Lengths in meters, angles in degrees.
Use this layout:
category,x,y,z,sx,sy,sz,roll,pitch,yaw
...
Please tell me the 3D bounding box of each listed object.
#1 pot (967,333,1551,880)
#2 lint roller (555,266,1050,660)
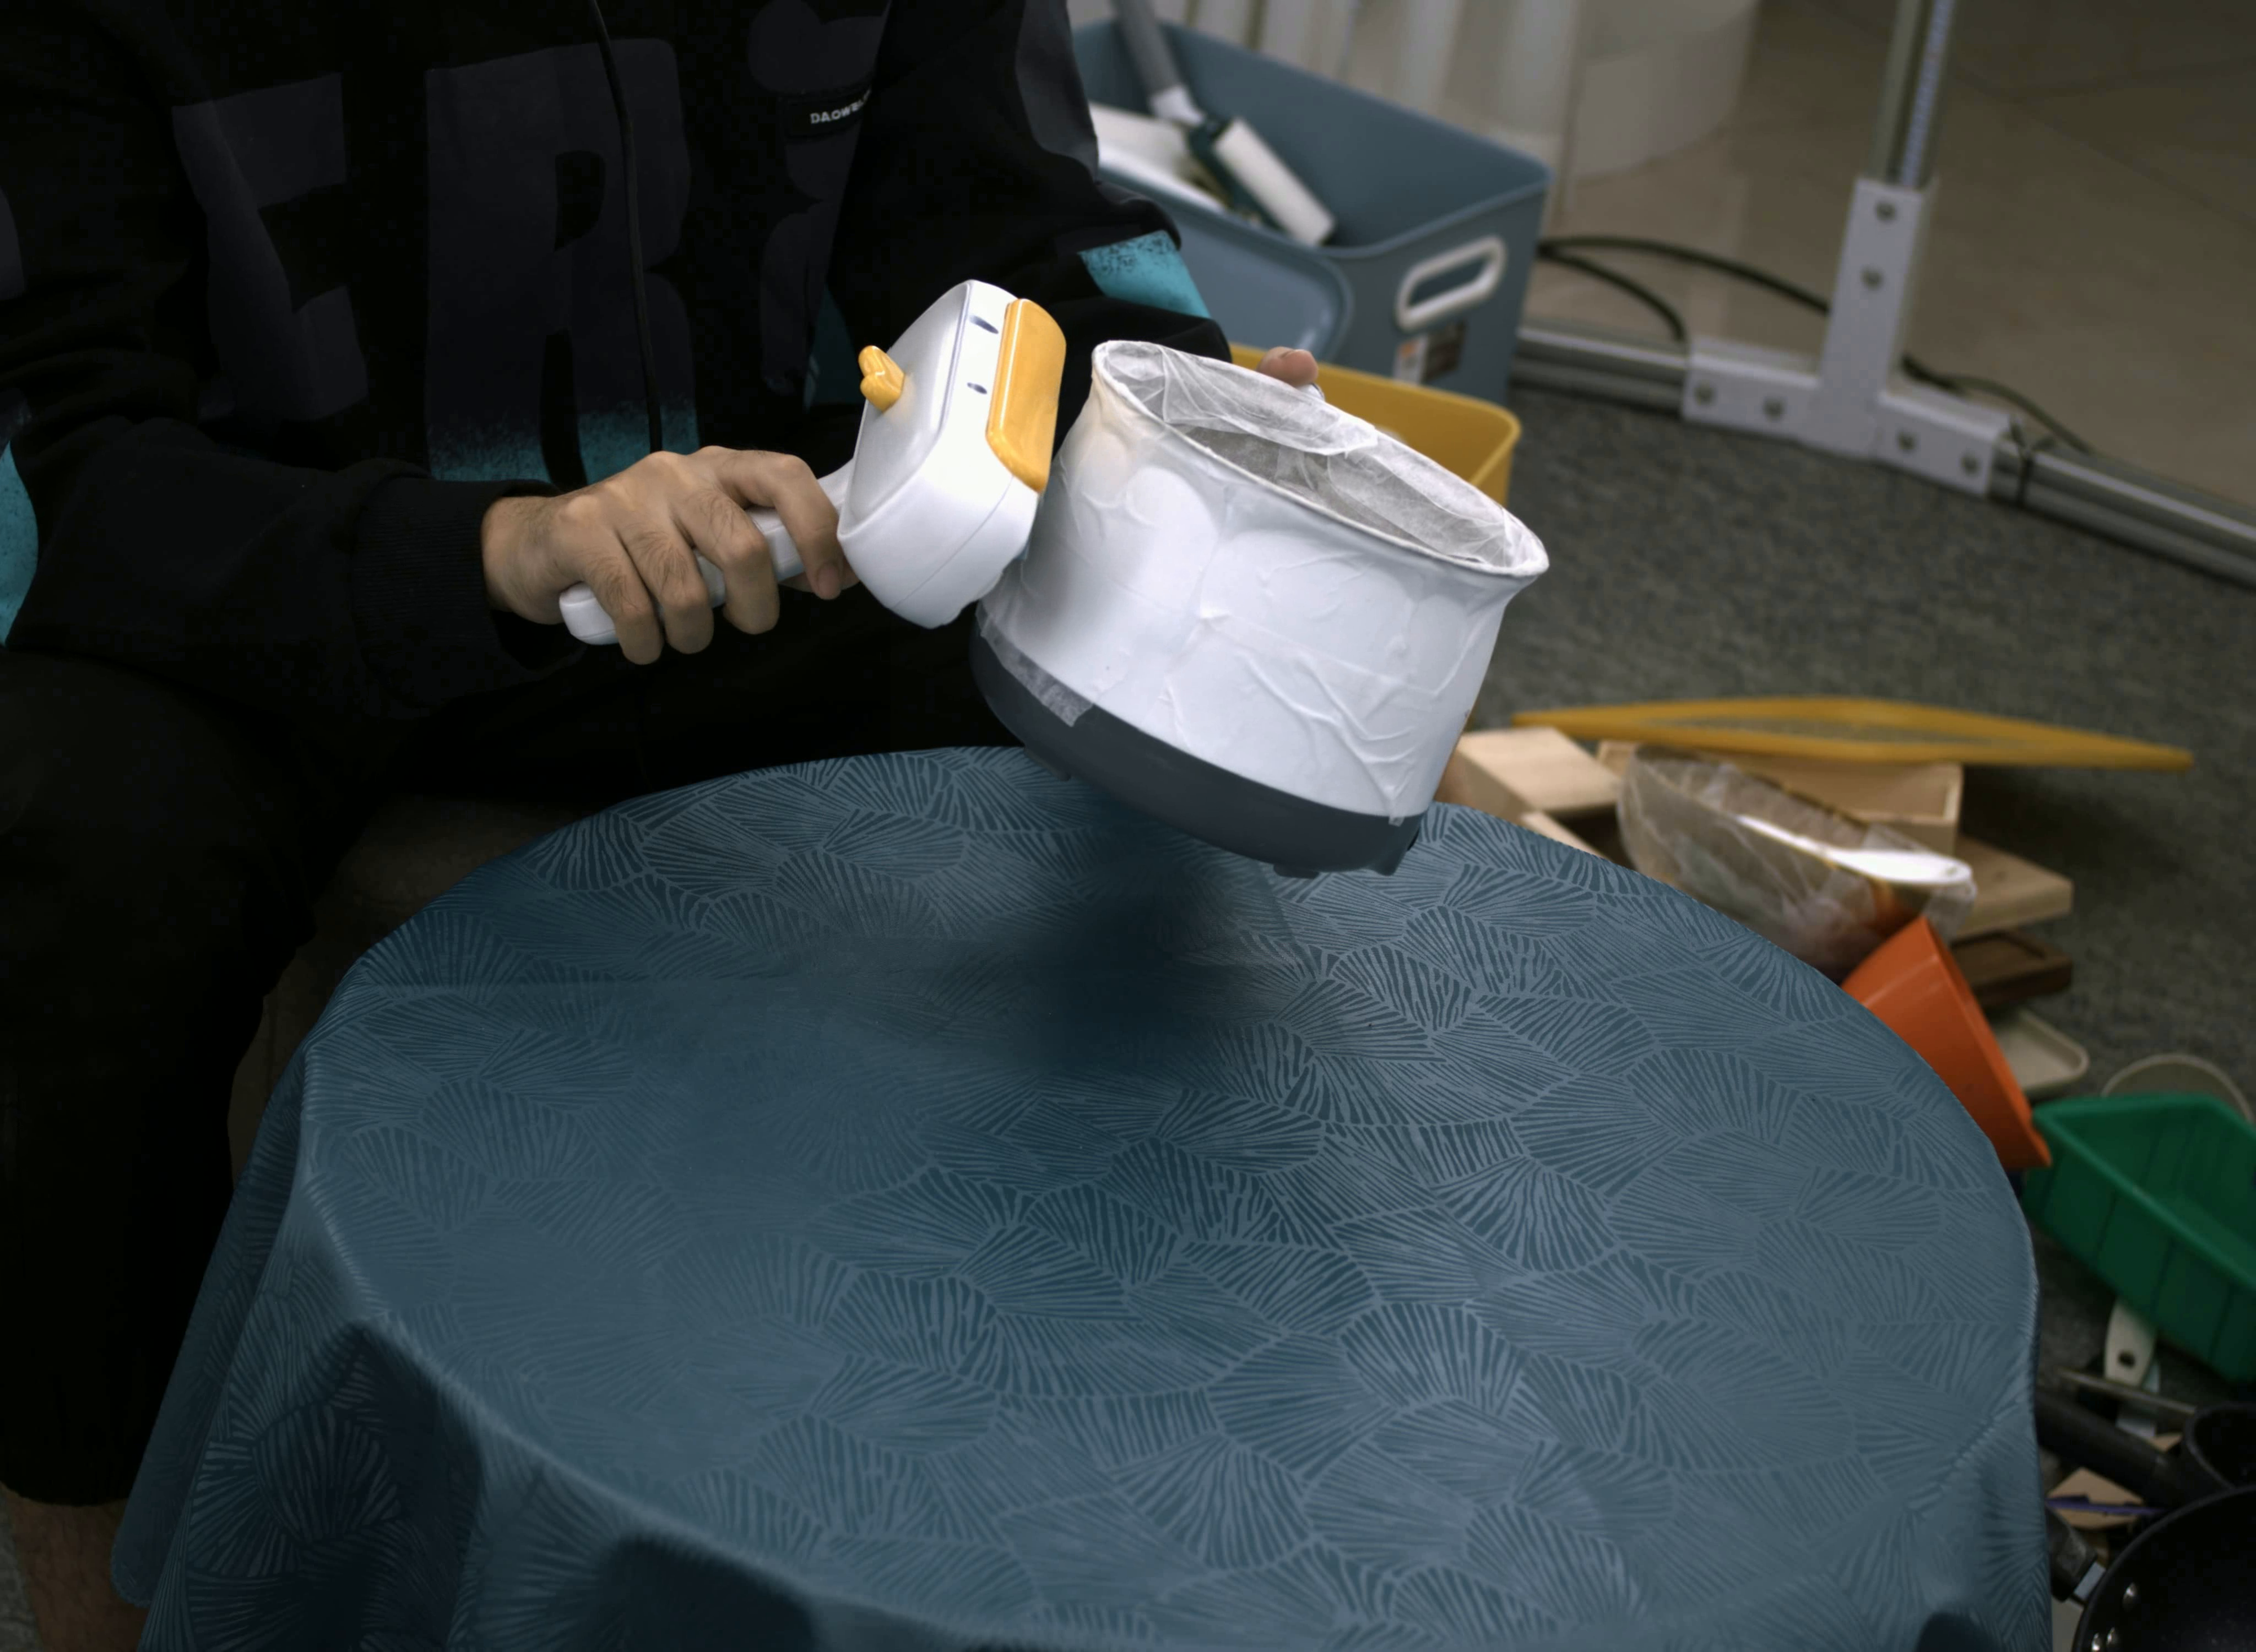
category,x,y,z,sx,sy,sz,roll,pitch,yaw
pot,0.040,-0.084,1.902,0.178,0.136,0.235,24,16,-9
lint roller,-0.112,-0.108,1.869,0.192,0.073,0.194,-35,23,14
